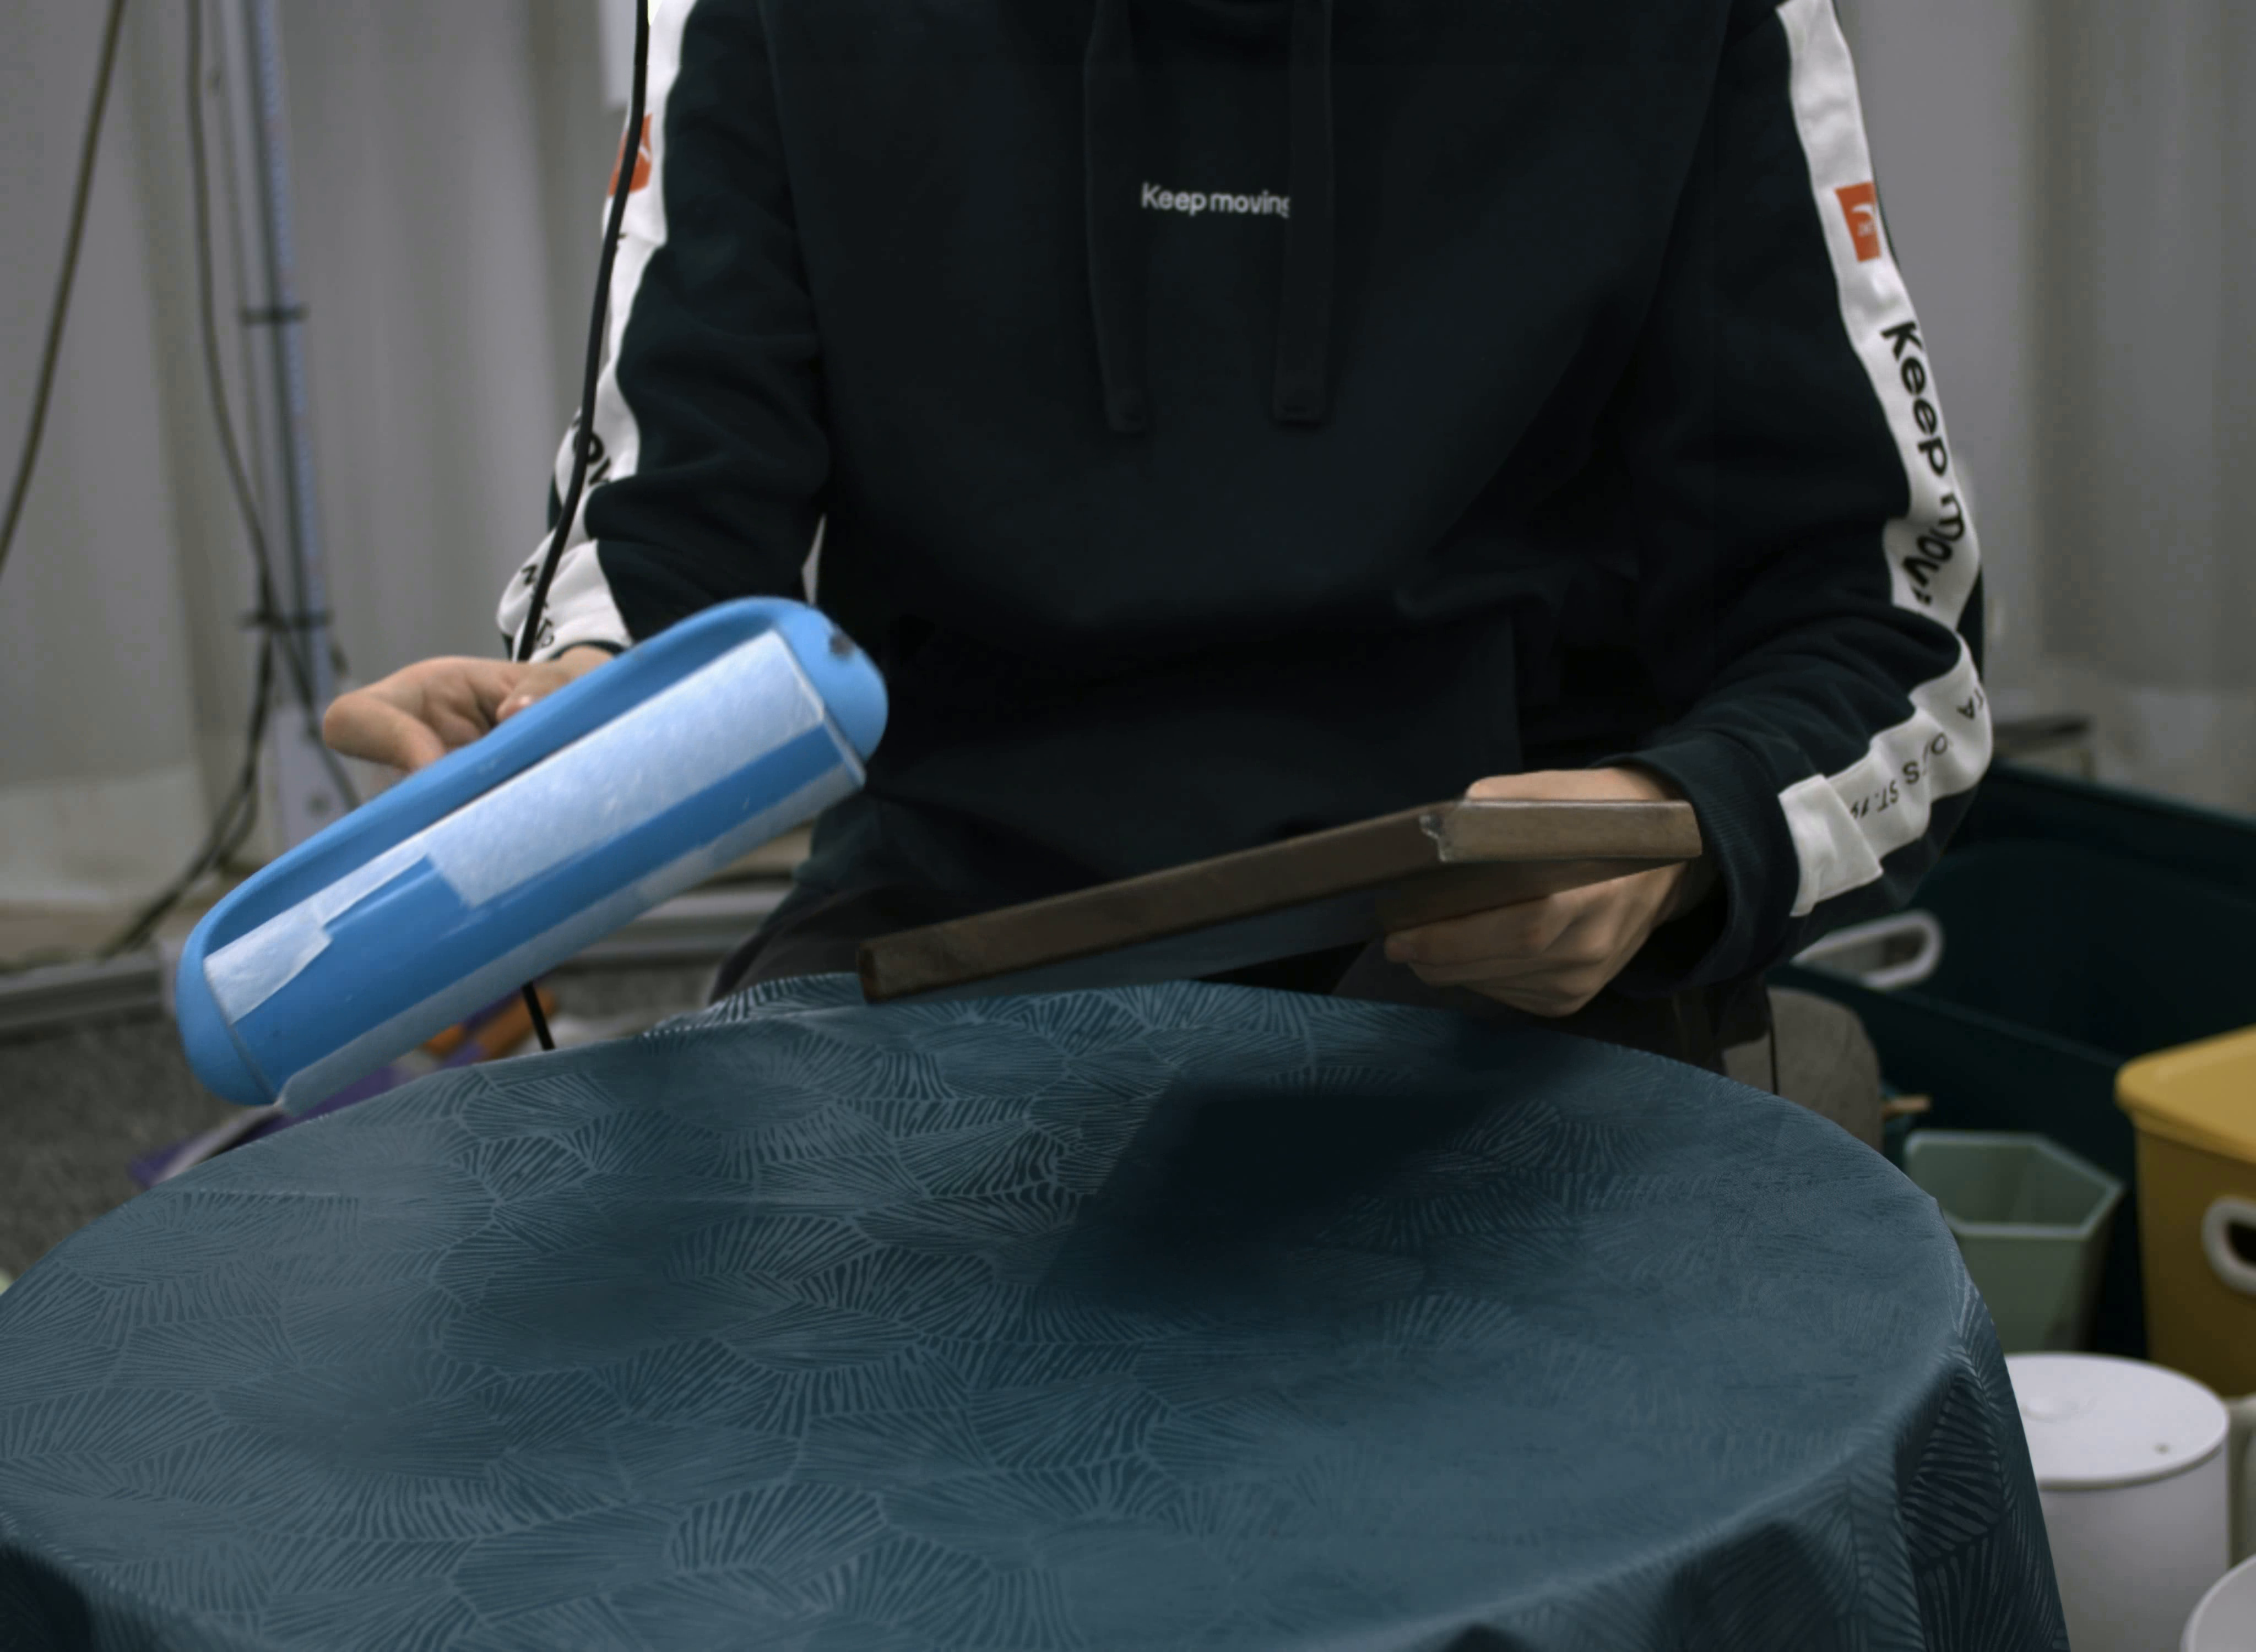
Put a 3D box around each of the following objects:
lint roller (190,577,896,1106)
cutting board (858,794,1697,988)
[{"bbox_3d":[-0.179,-0.002,1.640,0.229,0.067,0.181,-34,13,-4],"label":"lint roller"},{"bbox_3d":[0.068,0.020,1.723,0.200,0.023,0.351,-12,-5,20],"label":"cutting board"}]
